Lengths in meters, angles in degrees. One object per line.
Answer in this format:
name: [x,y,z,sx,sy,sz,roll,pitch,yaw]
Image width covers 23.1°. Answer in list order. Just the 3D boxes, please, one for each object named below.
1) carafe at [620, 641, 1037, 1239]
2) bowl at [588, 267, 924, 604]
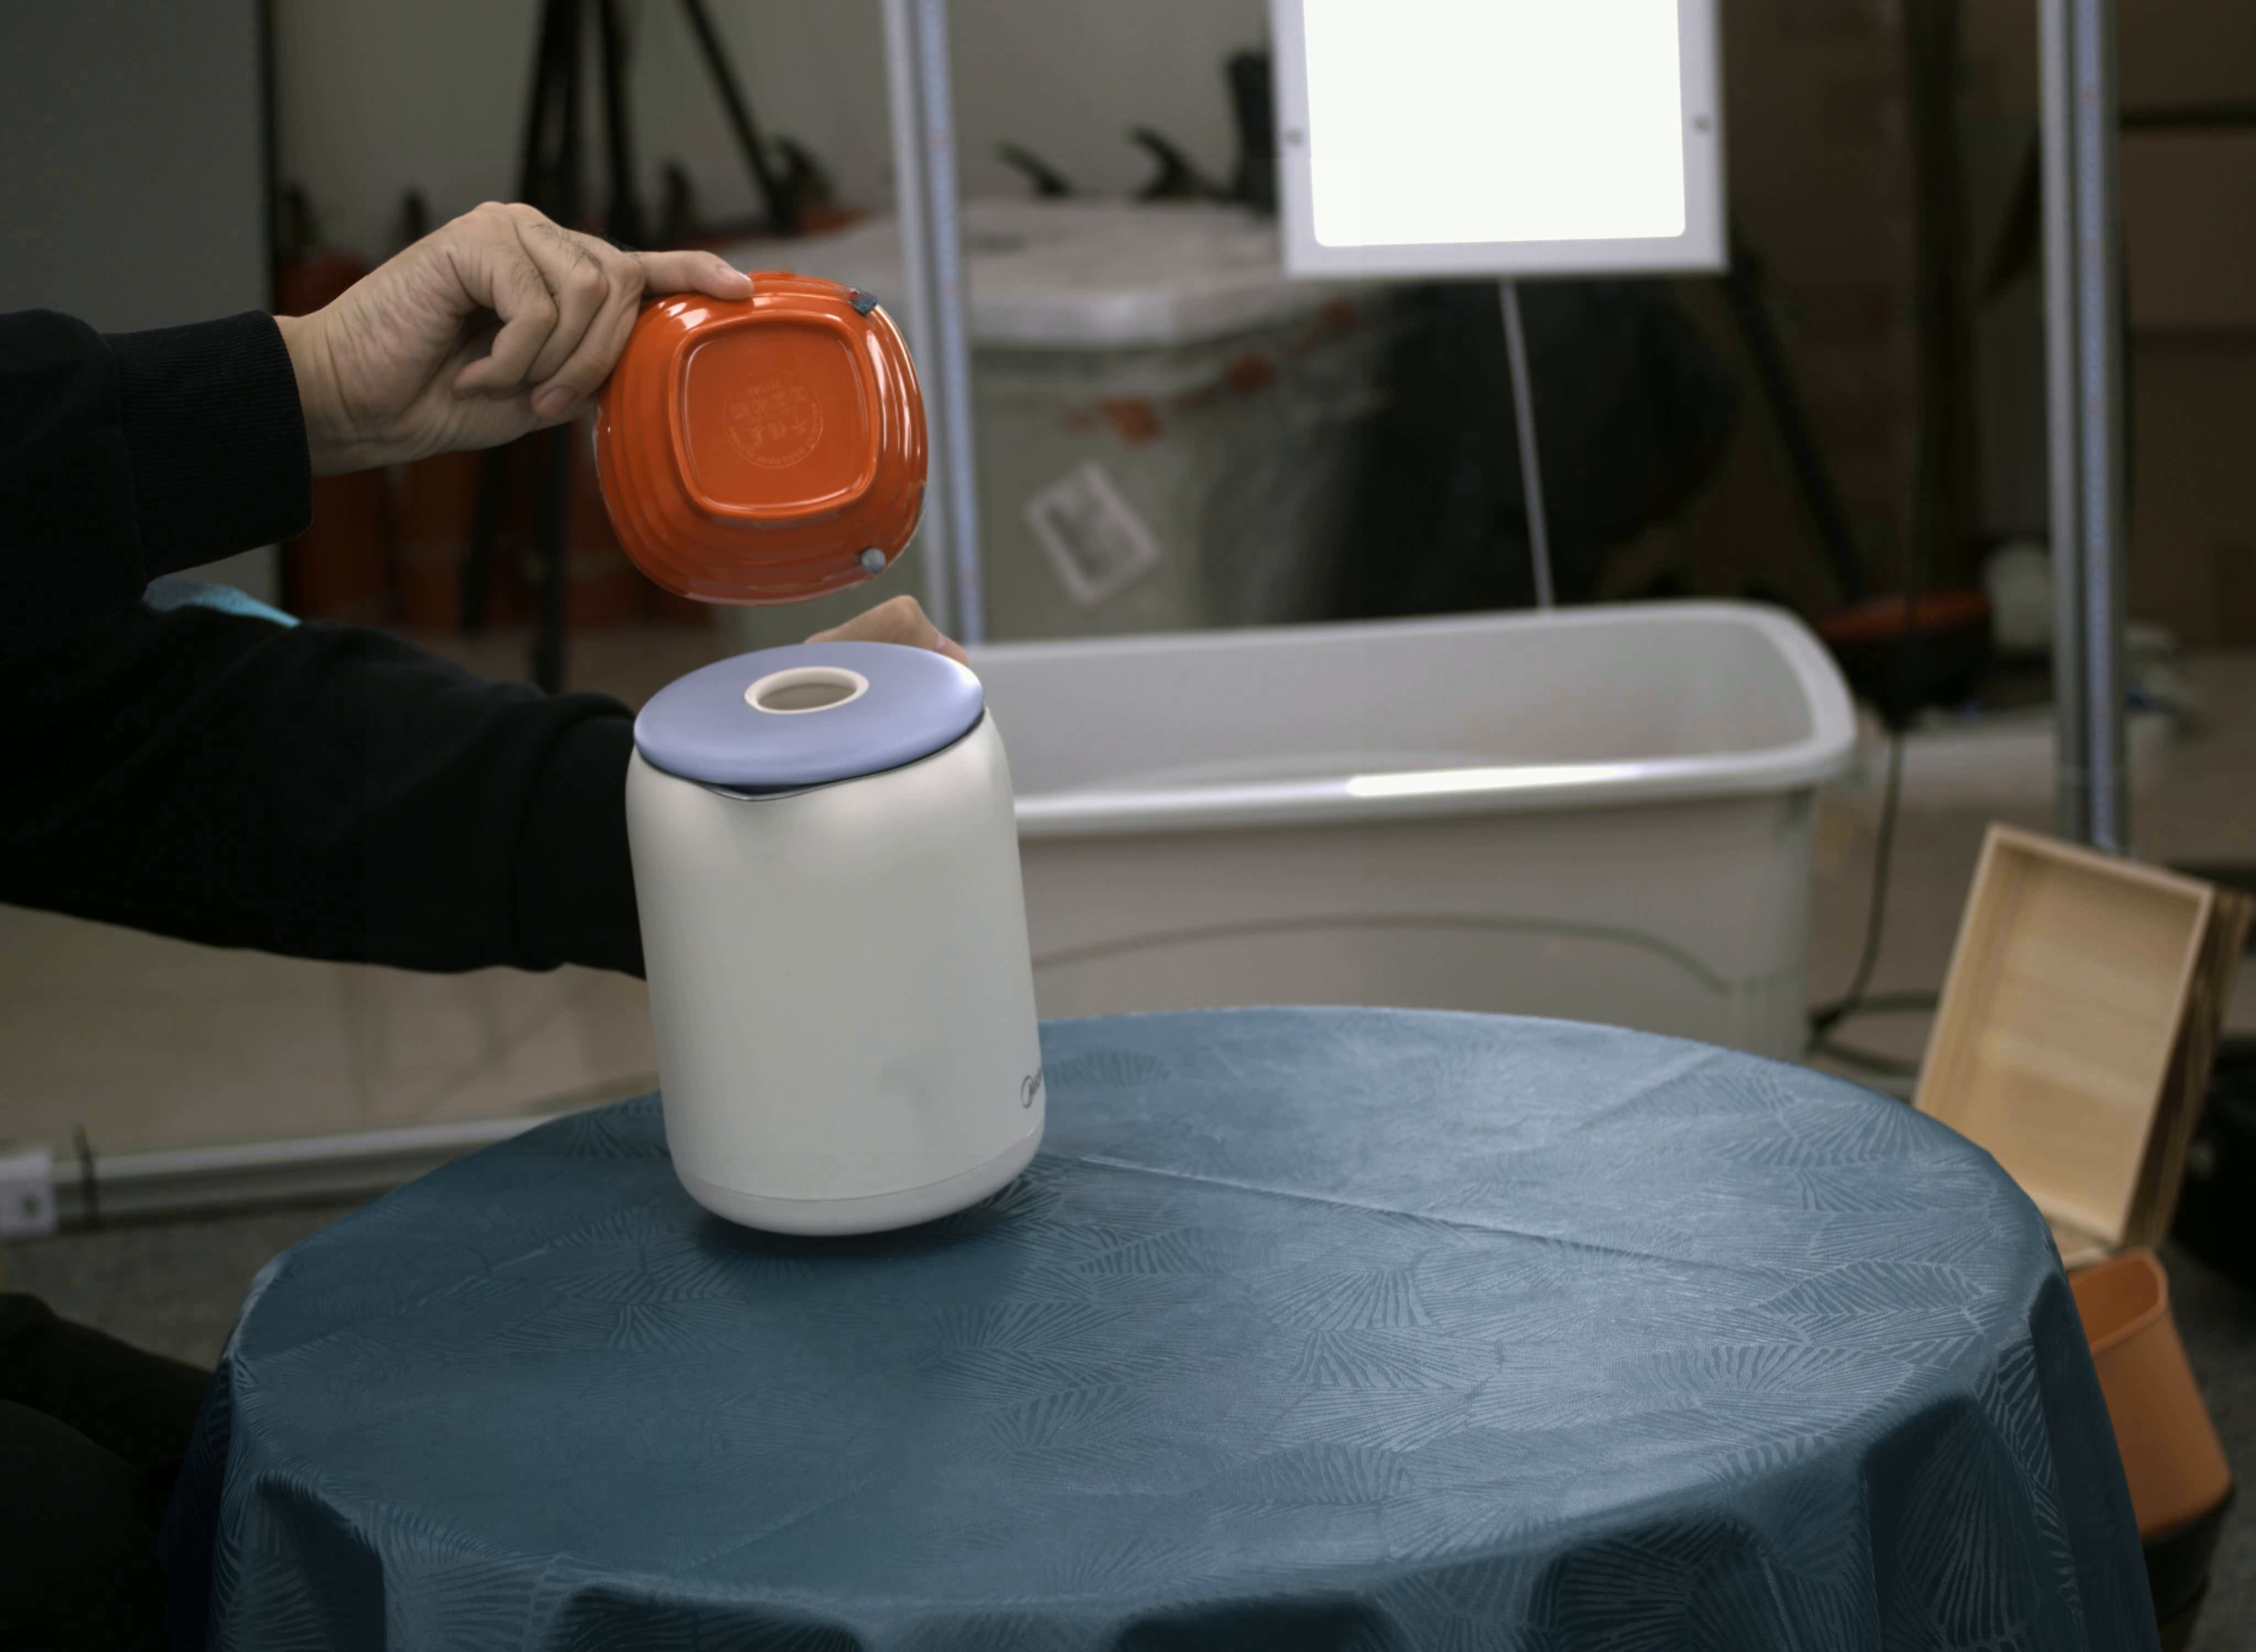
carafe: [-0.097,0.029,1.891,0.133,0.183,0.189,0,21,12]
bowl: [-0.119,-0.129,1.782,0.118,0.119,0.051,-6,-2,-5]
